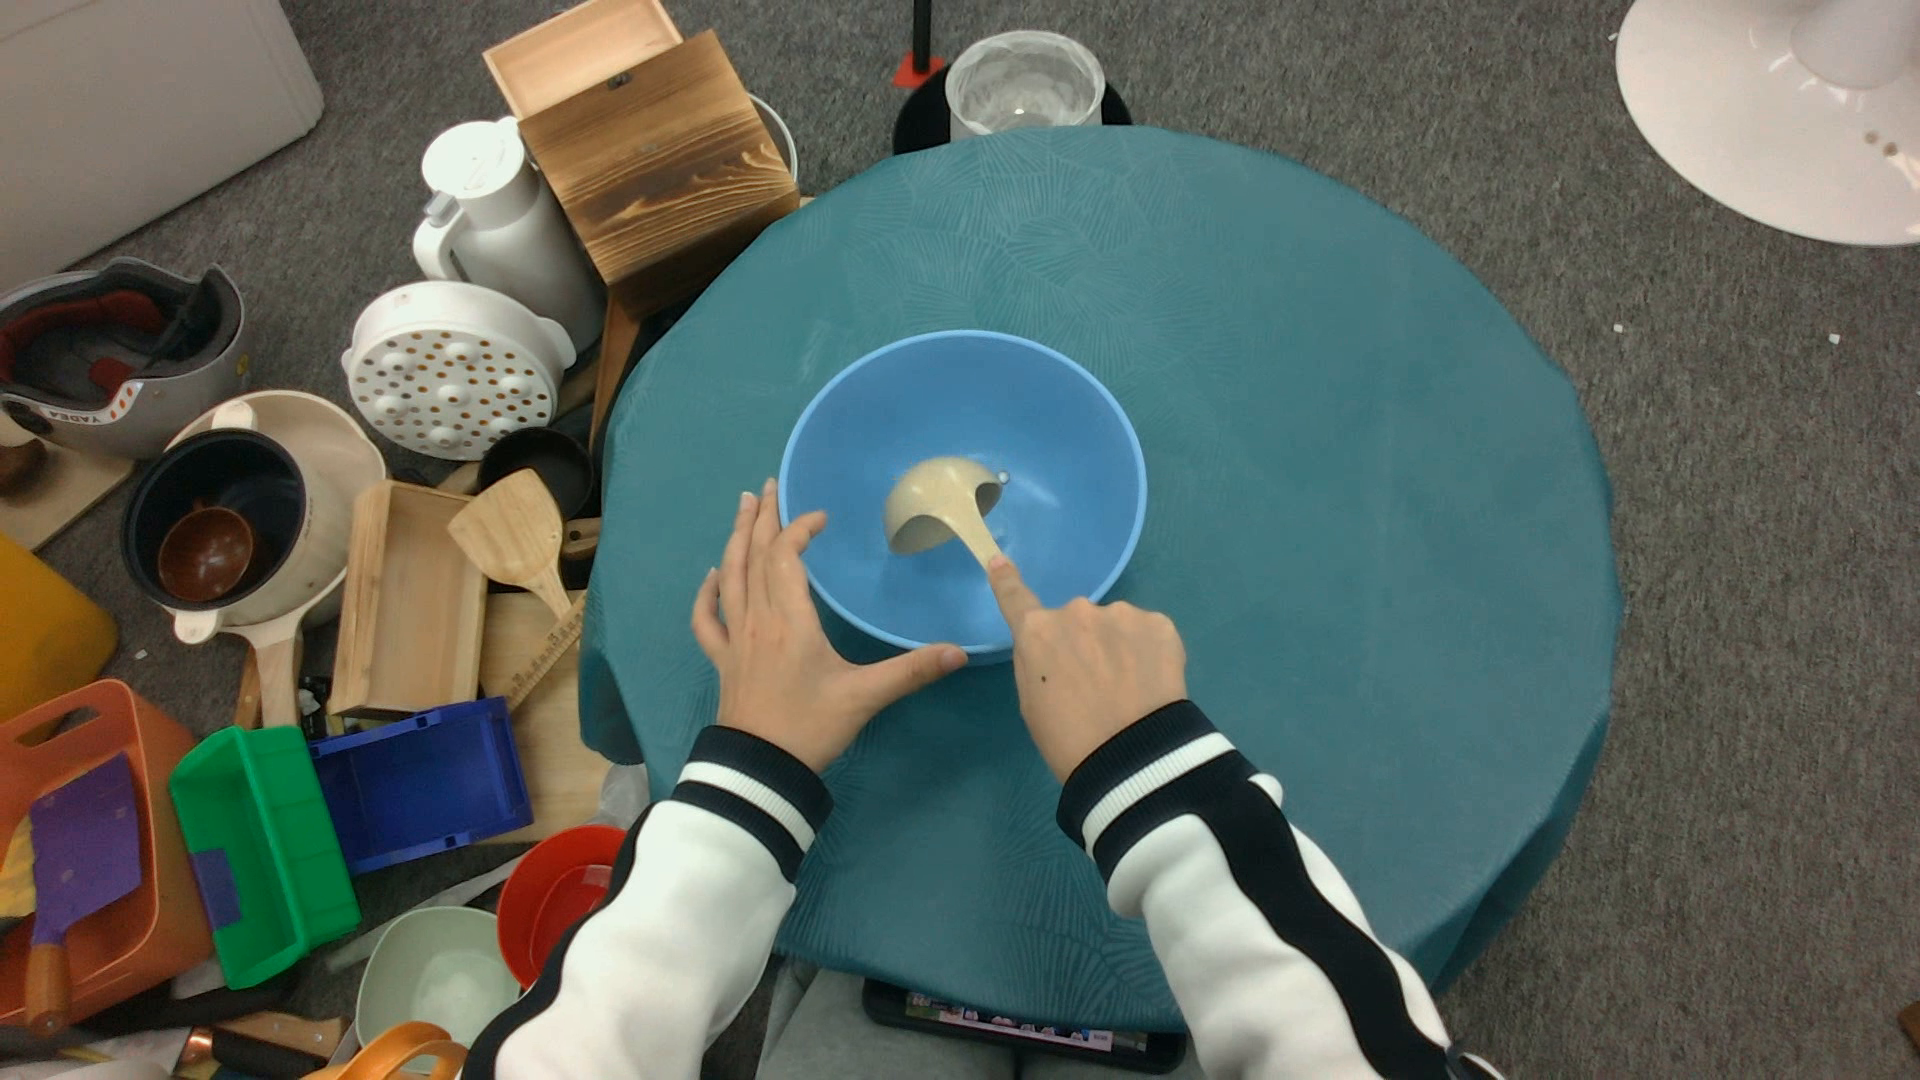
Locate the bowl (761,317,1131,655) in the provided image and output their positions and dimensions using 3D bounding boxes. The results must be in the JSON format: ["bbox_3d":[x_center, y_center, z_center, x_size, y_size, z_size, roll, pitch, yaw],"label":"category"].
[{"bbox_3d":[-0.008,-0.017,0.771,0.196,0.095,0.197,1,64,-1],"label":"bowl"}]

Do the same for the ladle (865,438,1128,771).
[{"bbox_3d":[0.022,0.040,0.703,0.072,0.072,0.255,-23,49,-10],"label":"ladle"}]
